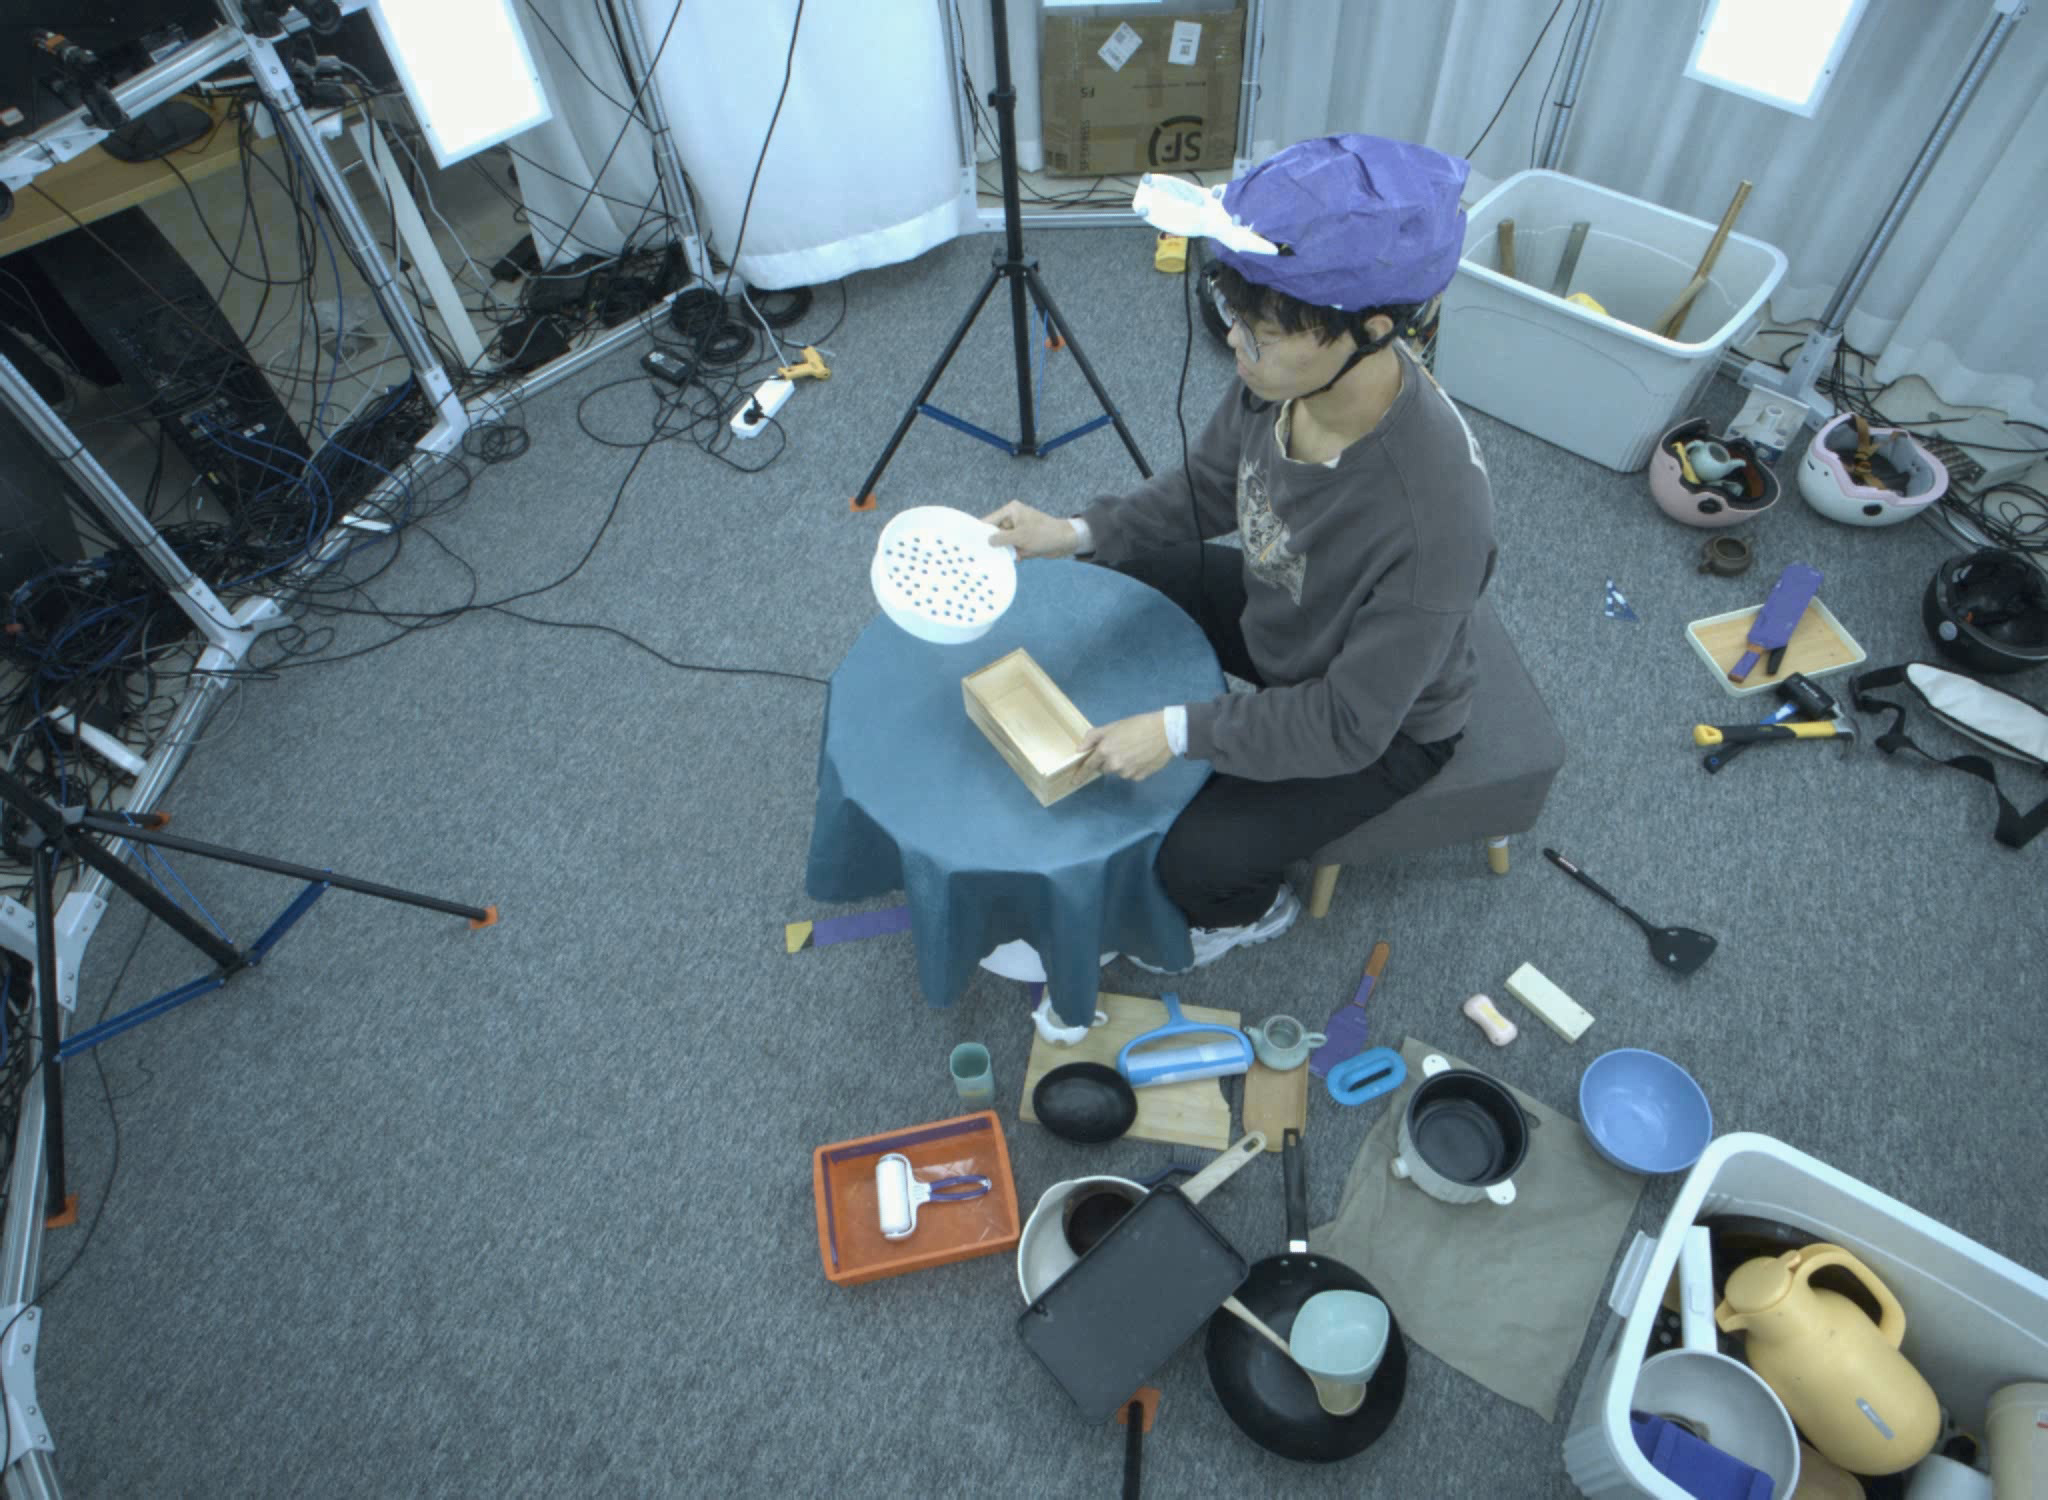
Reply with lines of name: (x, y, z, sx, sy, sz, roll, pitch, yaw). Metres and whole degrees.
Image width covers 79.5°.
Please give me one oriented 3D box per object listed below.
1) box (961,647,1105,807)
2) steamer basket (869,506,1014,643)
box: (0.012, -0.036, 1.761, 0.108, 0.081, 0.207, -30, 58, -18)
steamer basket: (-0.119, -0.243, 1.707, 0.233, 0.069, 0.200, -31, 80, -36)
